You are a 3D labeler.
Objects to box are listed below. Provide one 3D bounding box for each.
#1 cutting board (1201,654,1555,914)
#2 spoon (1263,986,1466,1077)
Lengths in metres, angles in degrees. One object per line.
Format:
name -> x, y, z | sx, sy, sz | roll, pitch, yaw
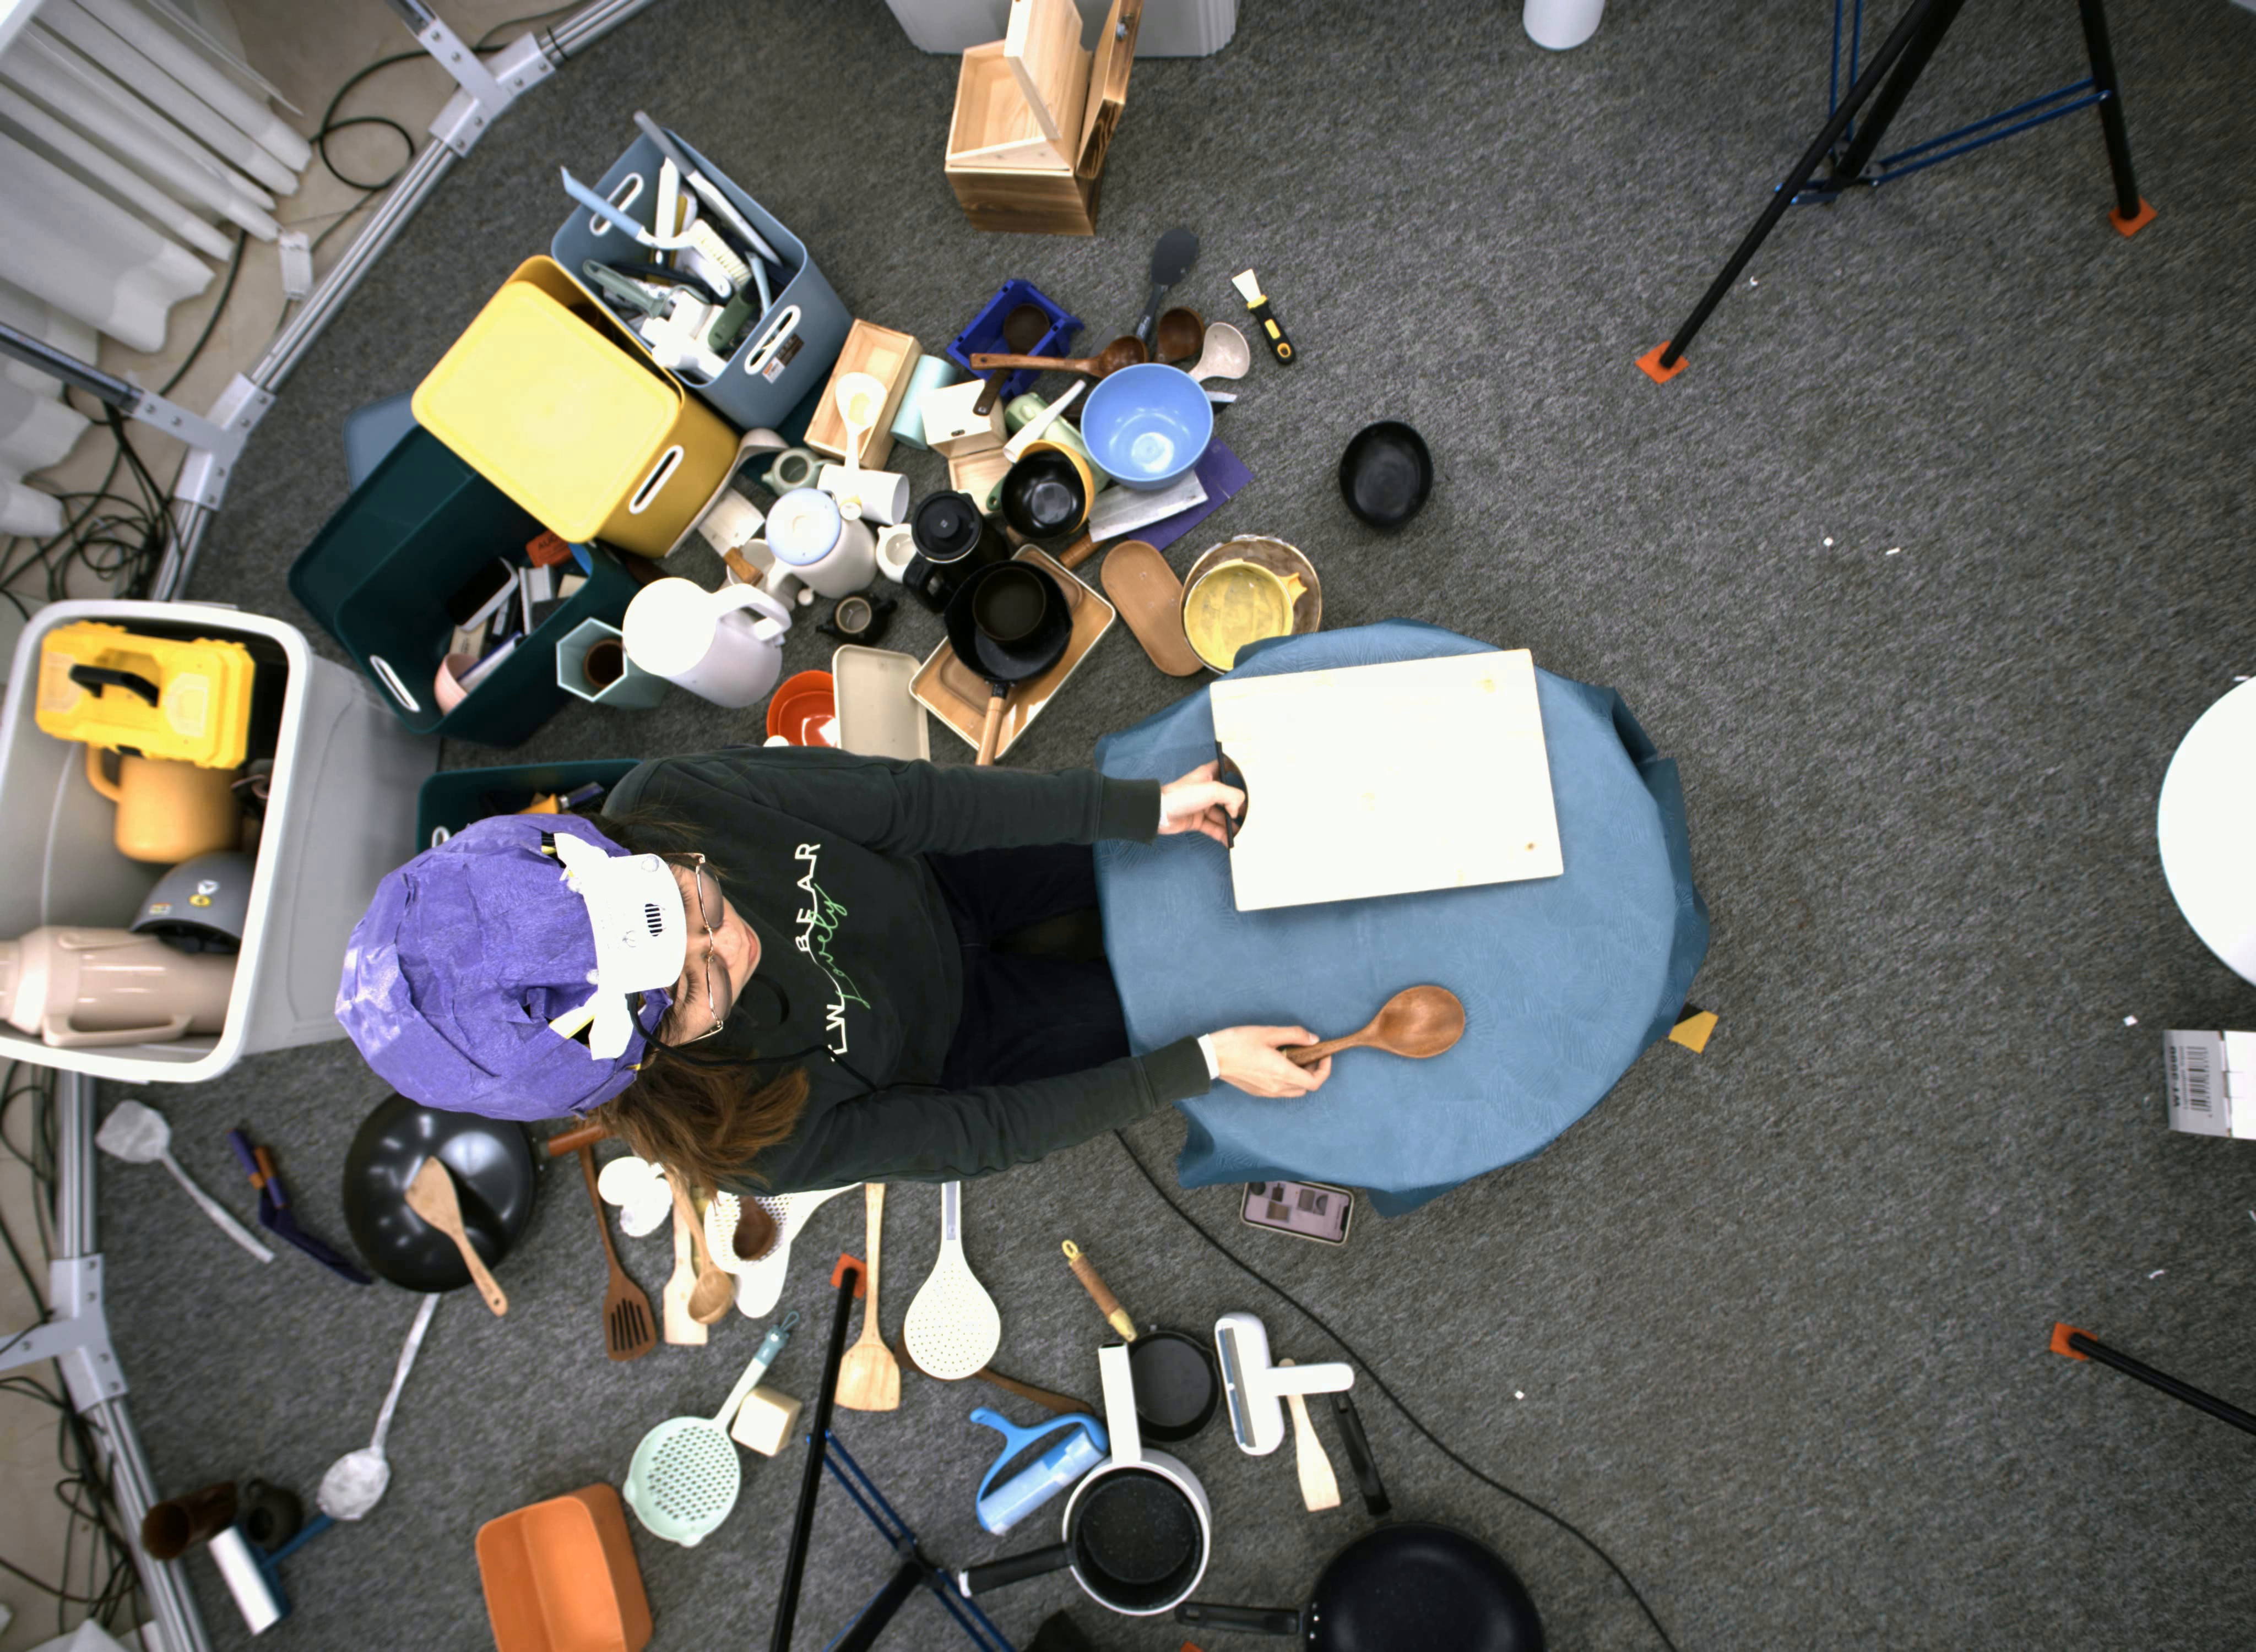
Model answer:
cutting board -> 0.263, -0.047, 1.436 | 0.349, 0.024, 0.249 | -7, 84, 0
spoon -> 0.245, 0.221, 1.441 | 0.216, 0.017, 0.075 | -16, 85, 2
